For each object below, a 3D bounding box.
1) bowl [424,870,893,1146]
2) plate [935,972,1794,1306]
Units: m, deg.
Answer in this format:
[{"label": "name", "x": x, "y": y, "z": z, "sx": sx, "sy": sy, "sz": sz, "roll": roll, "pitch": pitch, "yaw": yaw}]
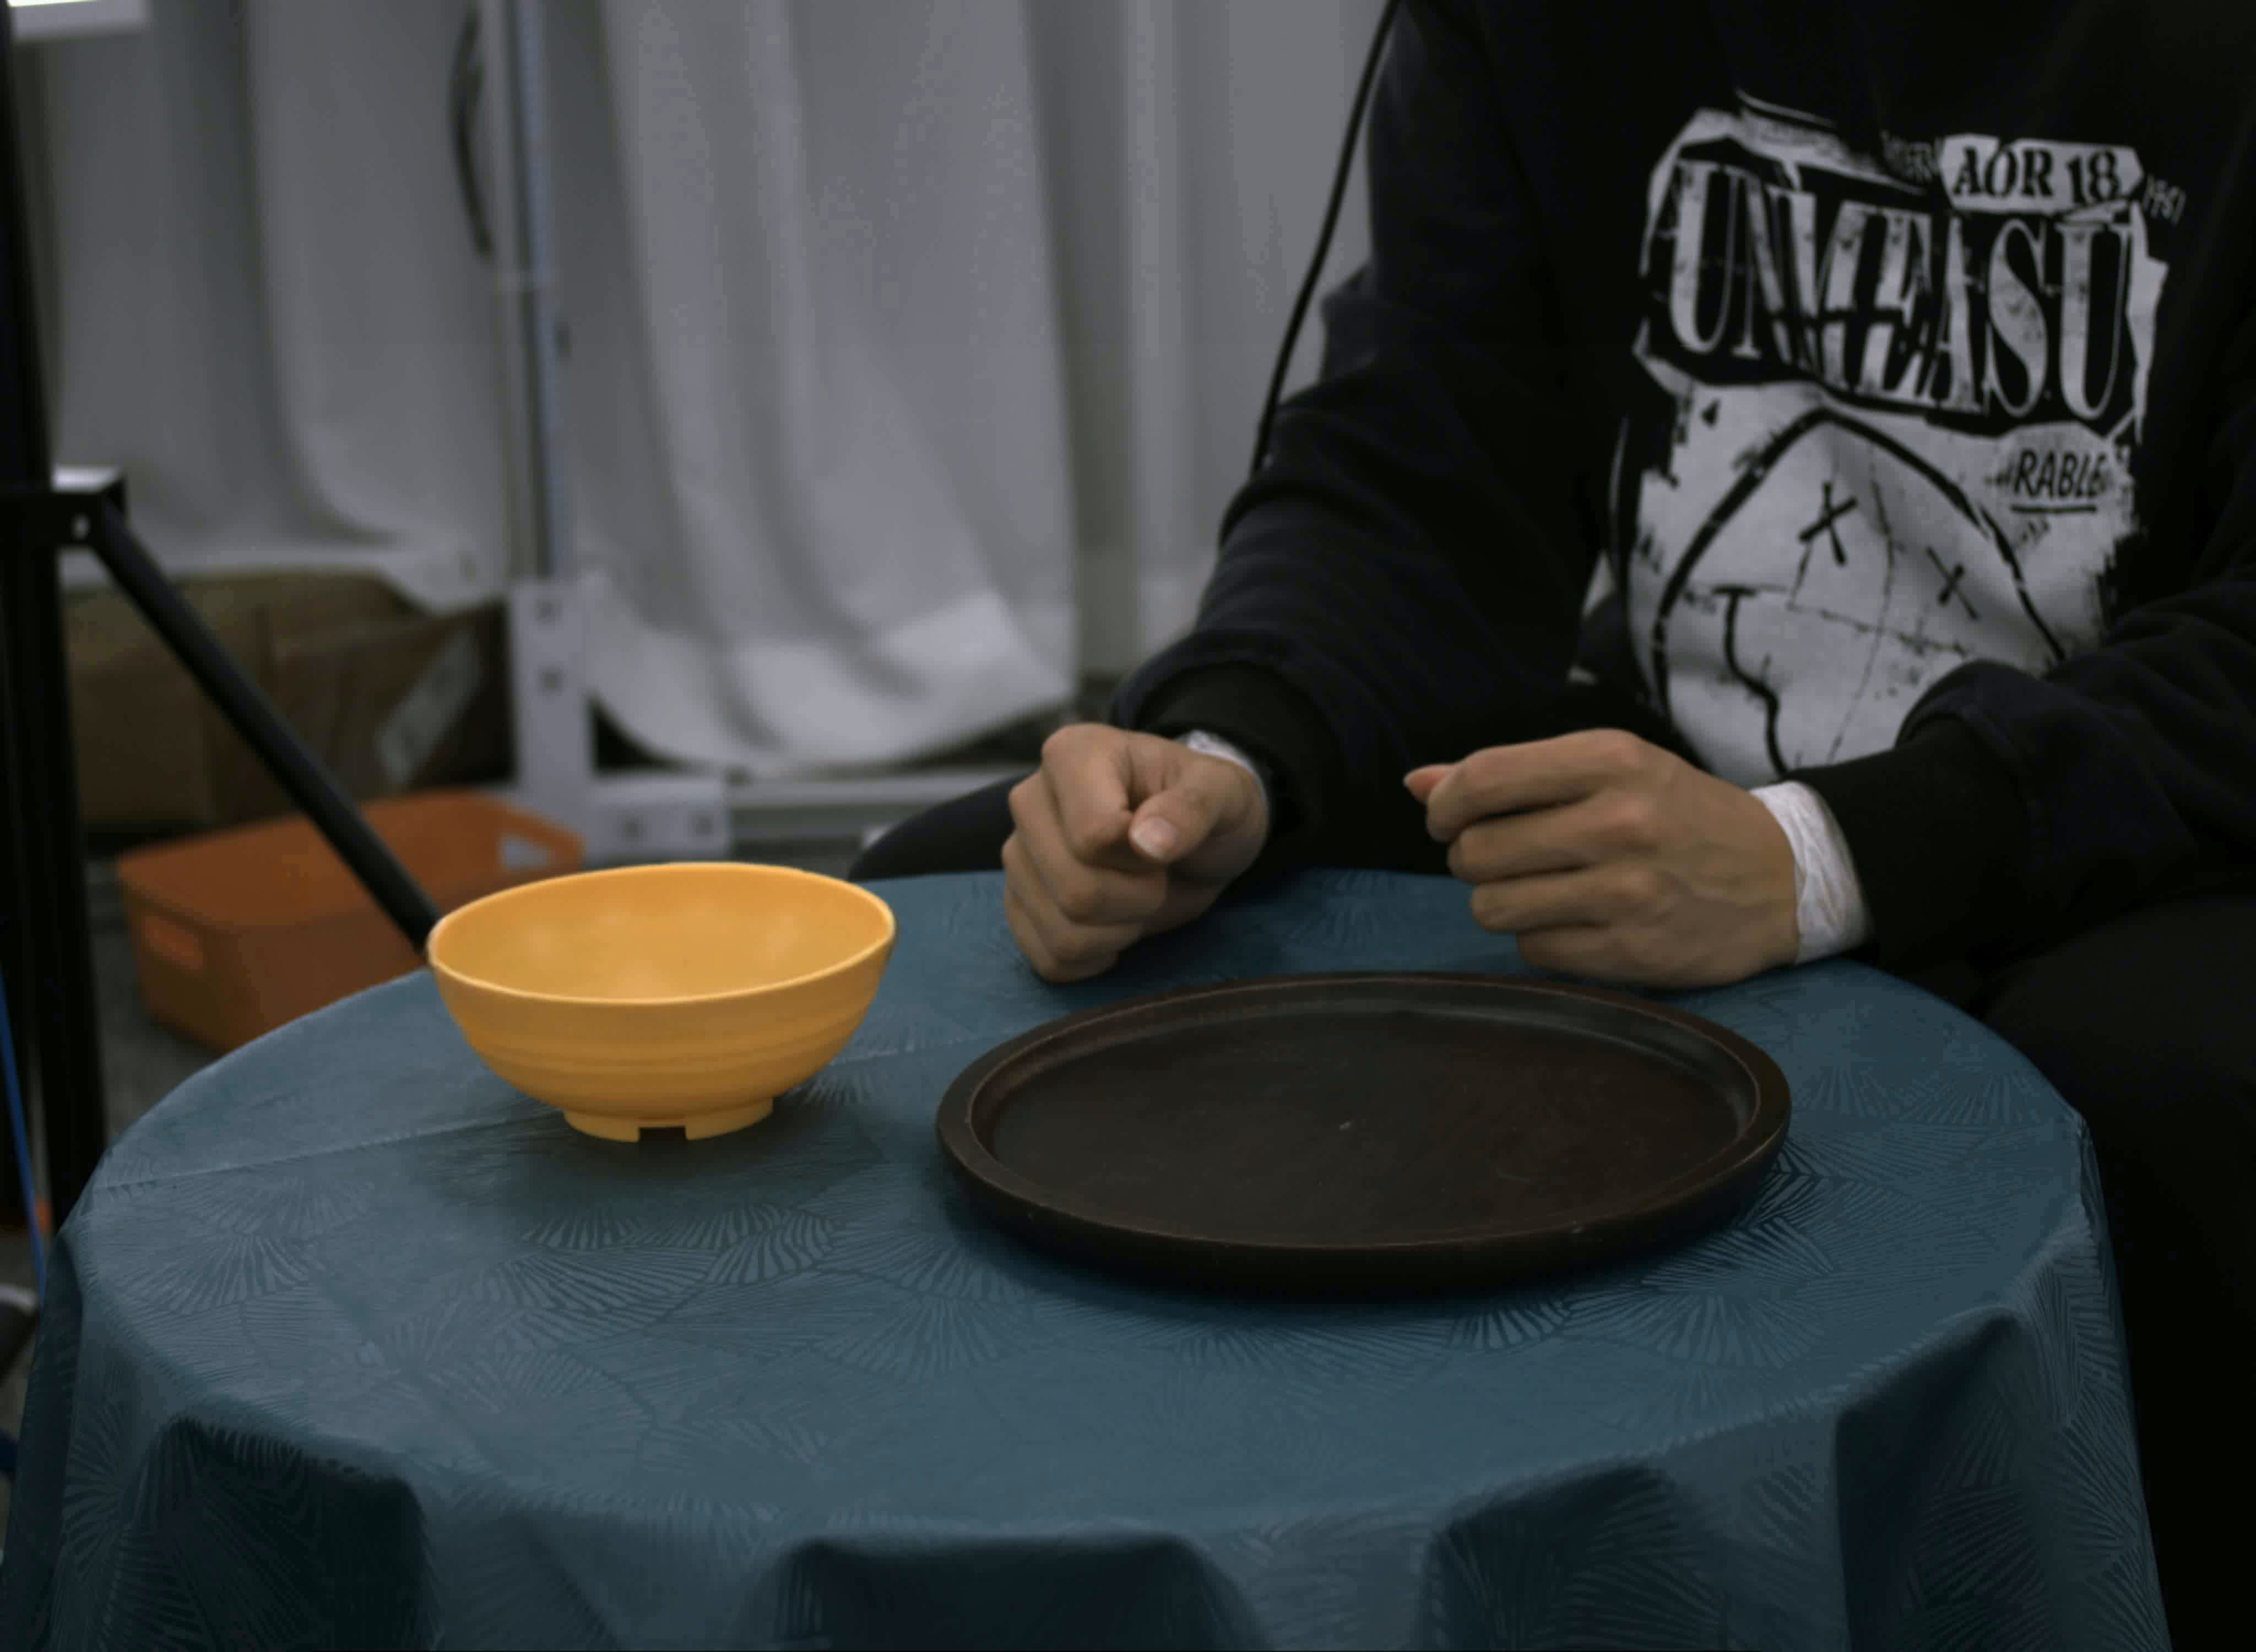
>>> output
[{"label": "bowl", "x": -0.144, "y": 0.061, "z": 1.647, "sx": 0.144, "sy": 0.060, "sz": 0.146, "roll": 0, "pitch": 14, "yaw": -1}, {"label": "plate", "x": 0.070, "y": 0.090, "z": 1.567, "sx": 0.253, "sy": 0.029, "sz": 0.256, "roll": -4, "pitch": 14, "yaw": 0}]
